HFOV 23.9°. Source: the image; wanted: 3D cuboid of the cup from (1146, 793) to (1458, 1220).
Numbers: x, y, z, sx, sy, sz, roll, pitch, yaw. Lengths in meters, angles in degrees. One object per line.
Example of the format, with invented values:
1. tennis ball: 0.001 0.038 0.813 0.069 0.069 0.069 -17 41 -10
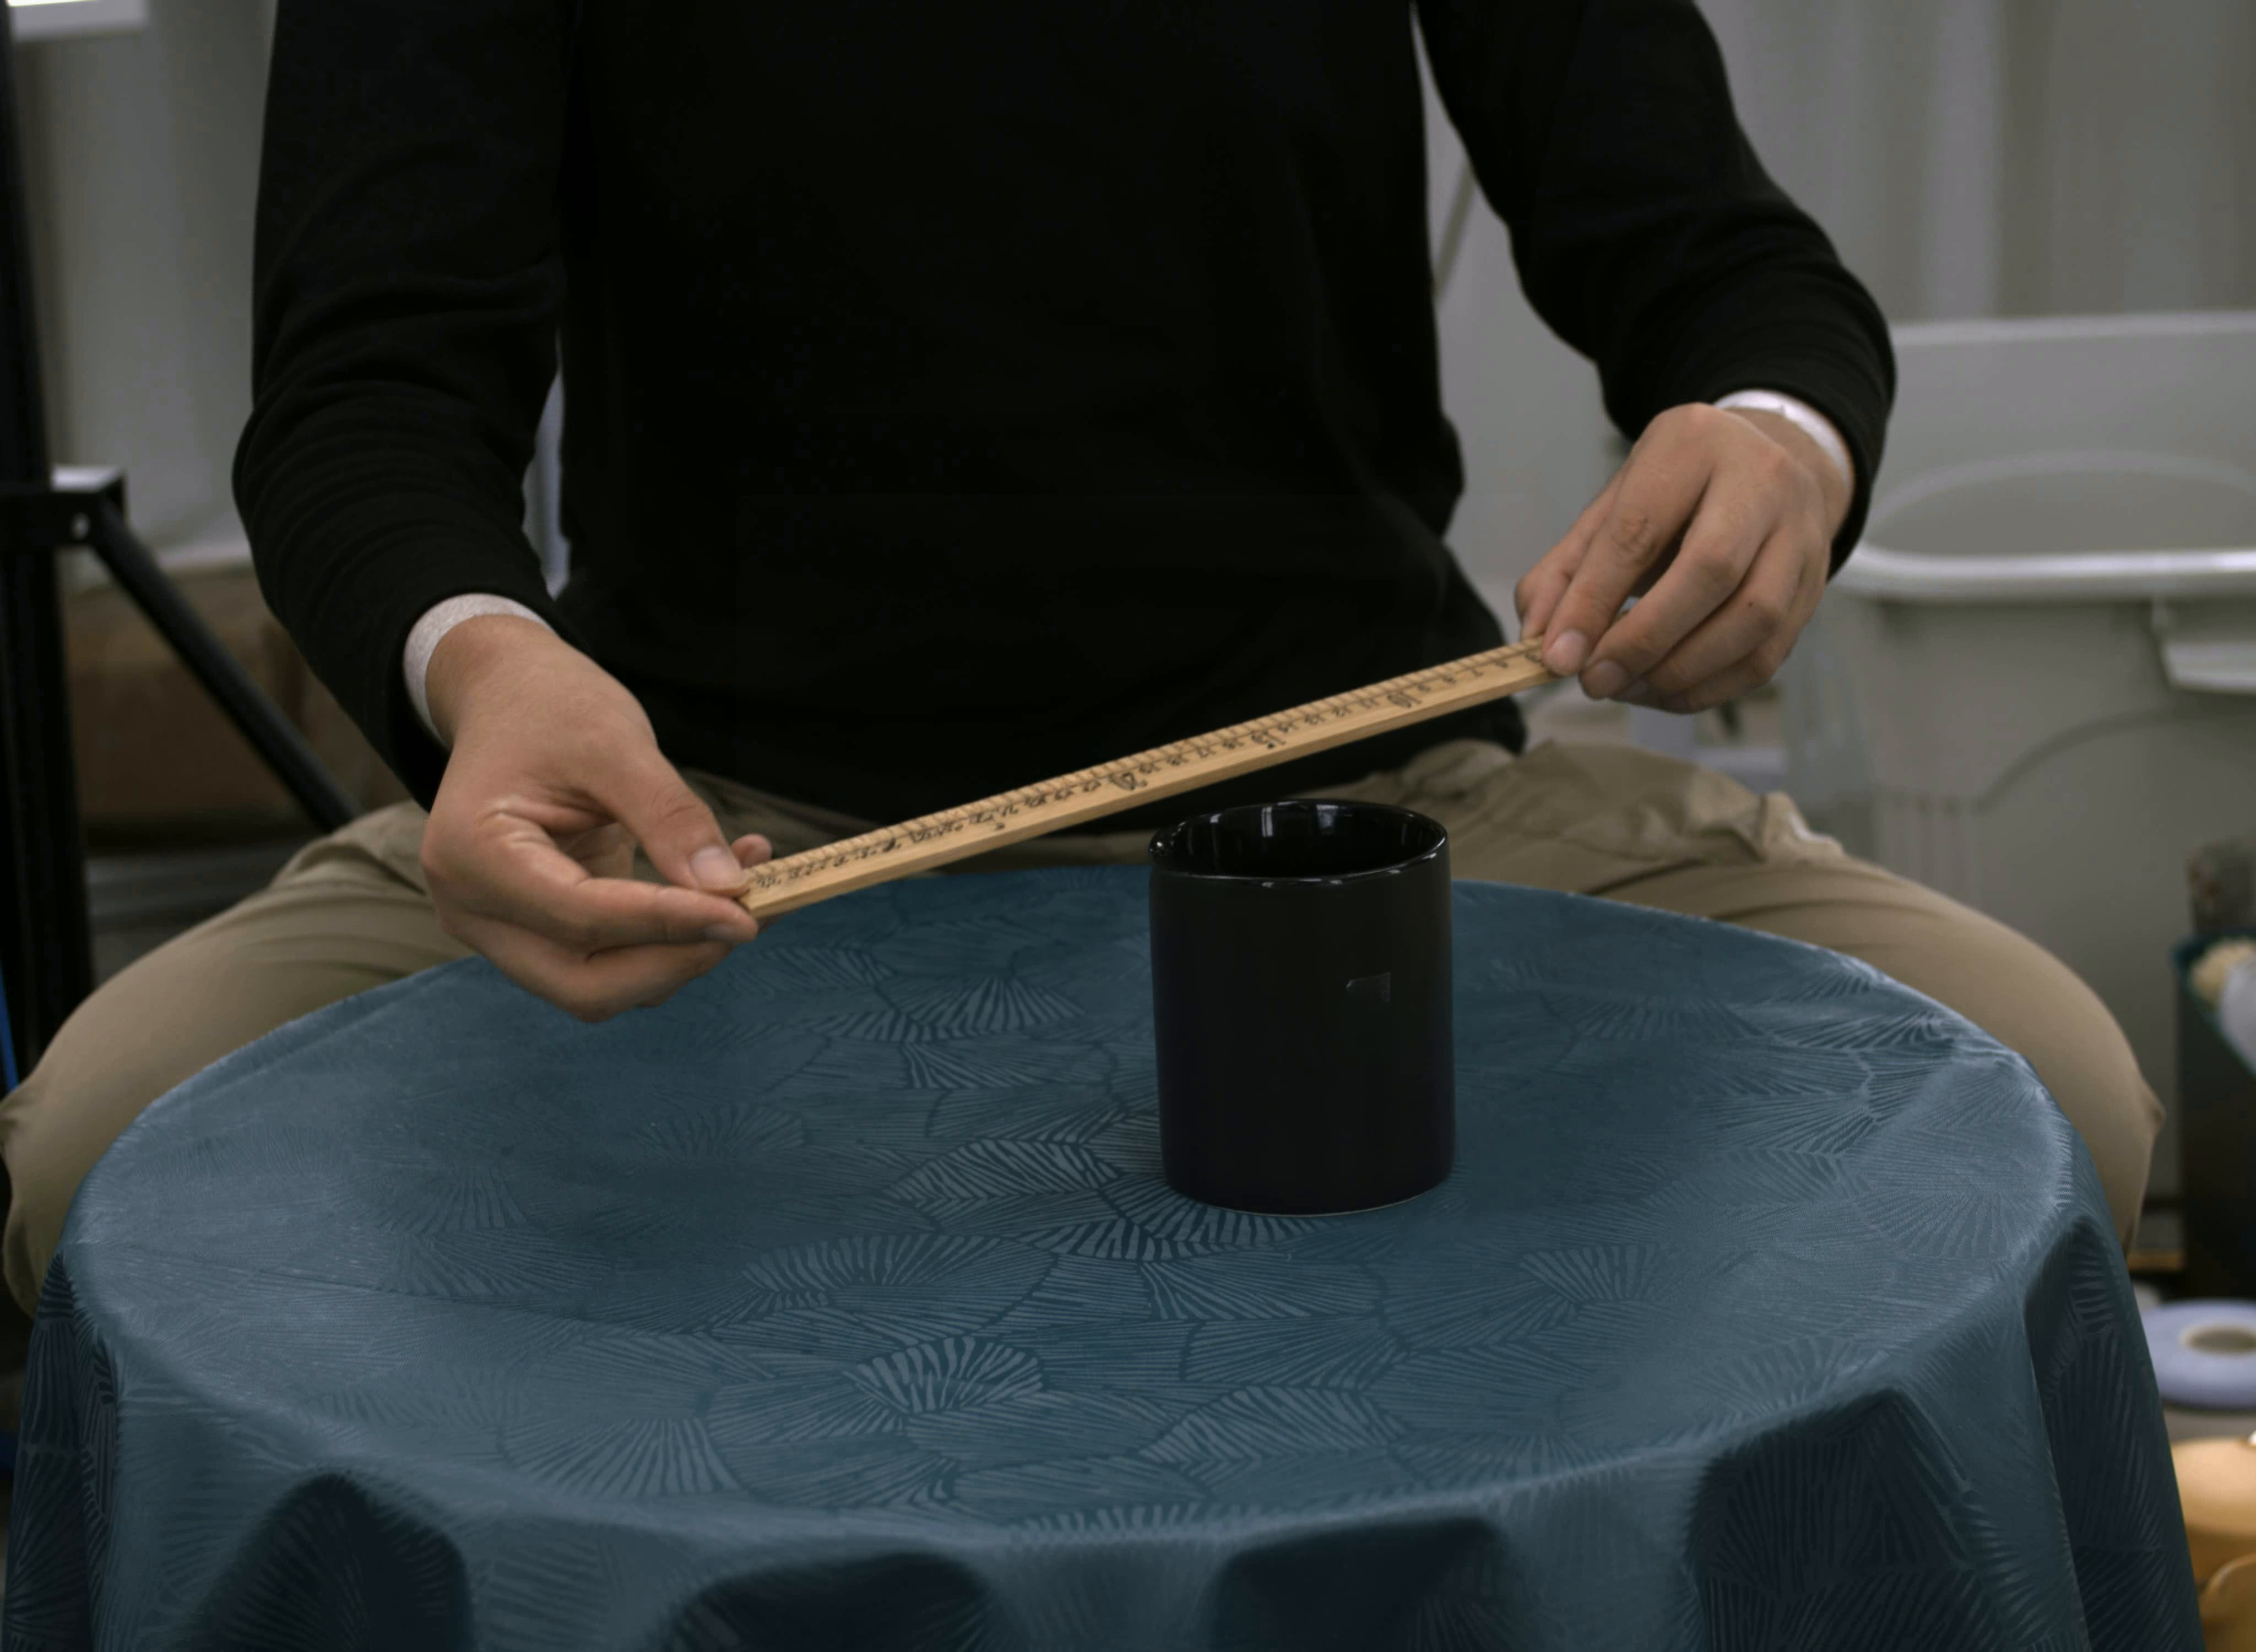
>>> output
1. cup: 0.050 0.048 1.574 0.088 0.105 0.124 -5 16 -4

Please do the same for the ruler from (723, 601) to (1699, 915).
1. ruler: 0.030 -0.025 1.583 0.325 0.022 0.028 -16 31 -26
